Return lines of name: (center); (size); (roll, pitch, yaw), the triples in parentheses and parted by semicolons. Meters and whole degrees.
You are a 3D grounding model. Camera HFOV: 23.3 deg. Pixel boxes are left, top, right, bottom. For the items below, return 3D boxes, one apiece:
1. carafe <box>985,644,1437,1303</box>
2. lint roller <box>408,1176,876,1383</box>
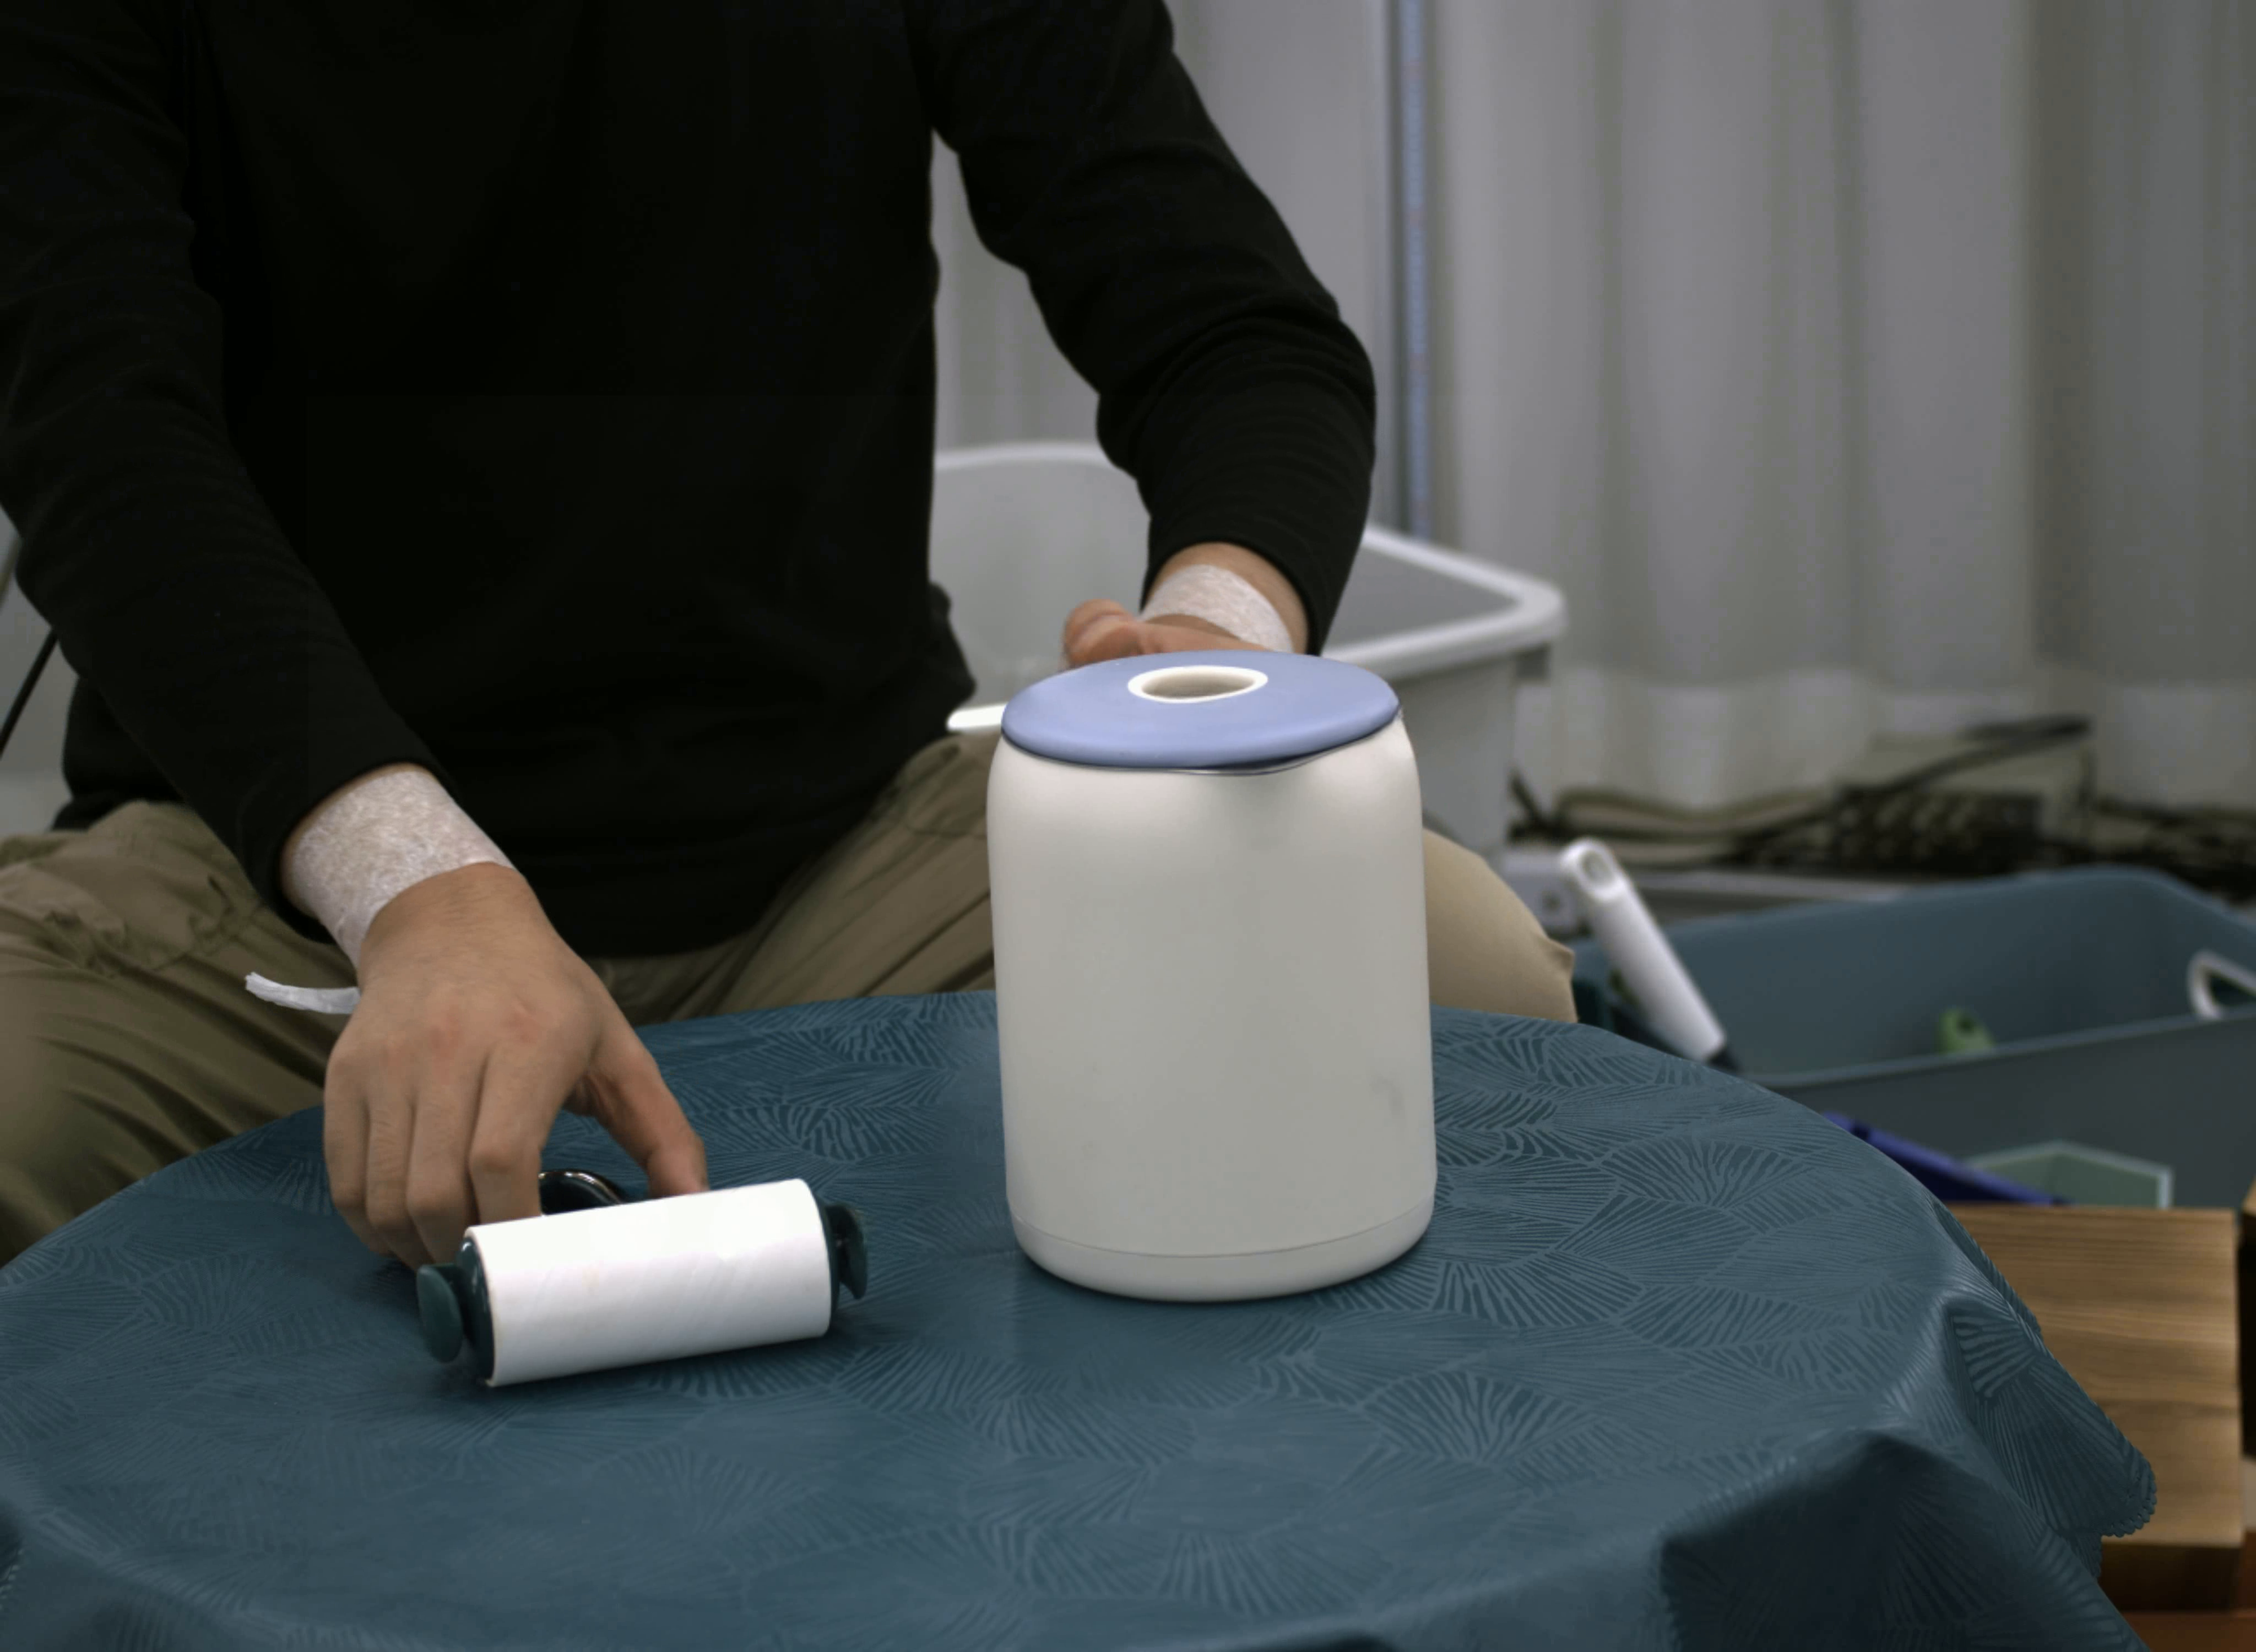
carafe: (0.018, 0.038, 1.669); (0.131, 0.182, 0.192); (-6, 12, -16)
lint roller: (-0.160, 0.119, 1.648); (0.134, 0.048, 0.181); (-7, 13, -16)
